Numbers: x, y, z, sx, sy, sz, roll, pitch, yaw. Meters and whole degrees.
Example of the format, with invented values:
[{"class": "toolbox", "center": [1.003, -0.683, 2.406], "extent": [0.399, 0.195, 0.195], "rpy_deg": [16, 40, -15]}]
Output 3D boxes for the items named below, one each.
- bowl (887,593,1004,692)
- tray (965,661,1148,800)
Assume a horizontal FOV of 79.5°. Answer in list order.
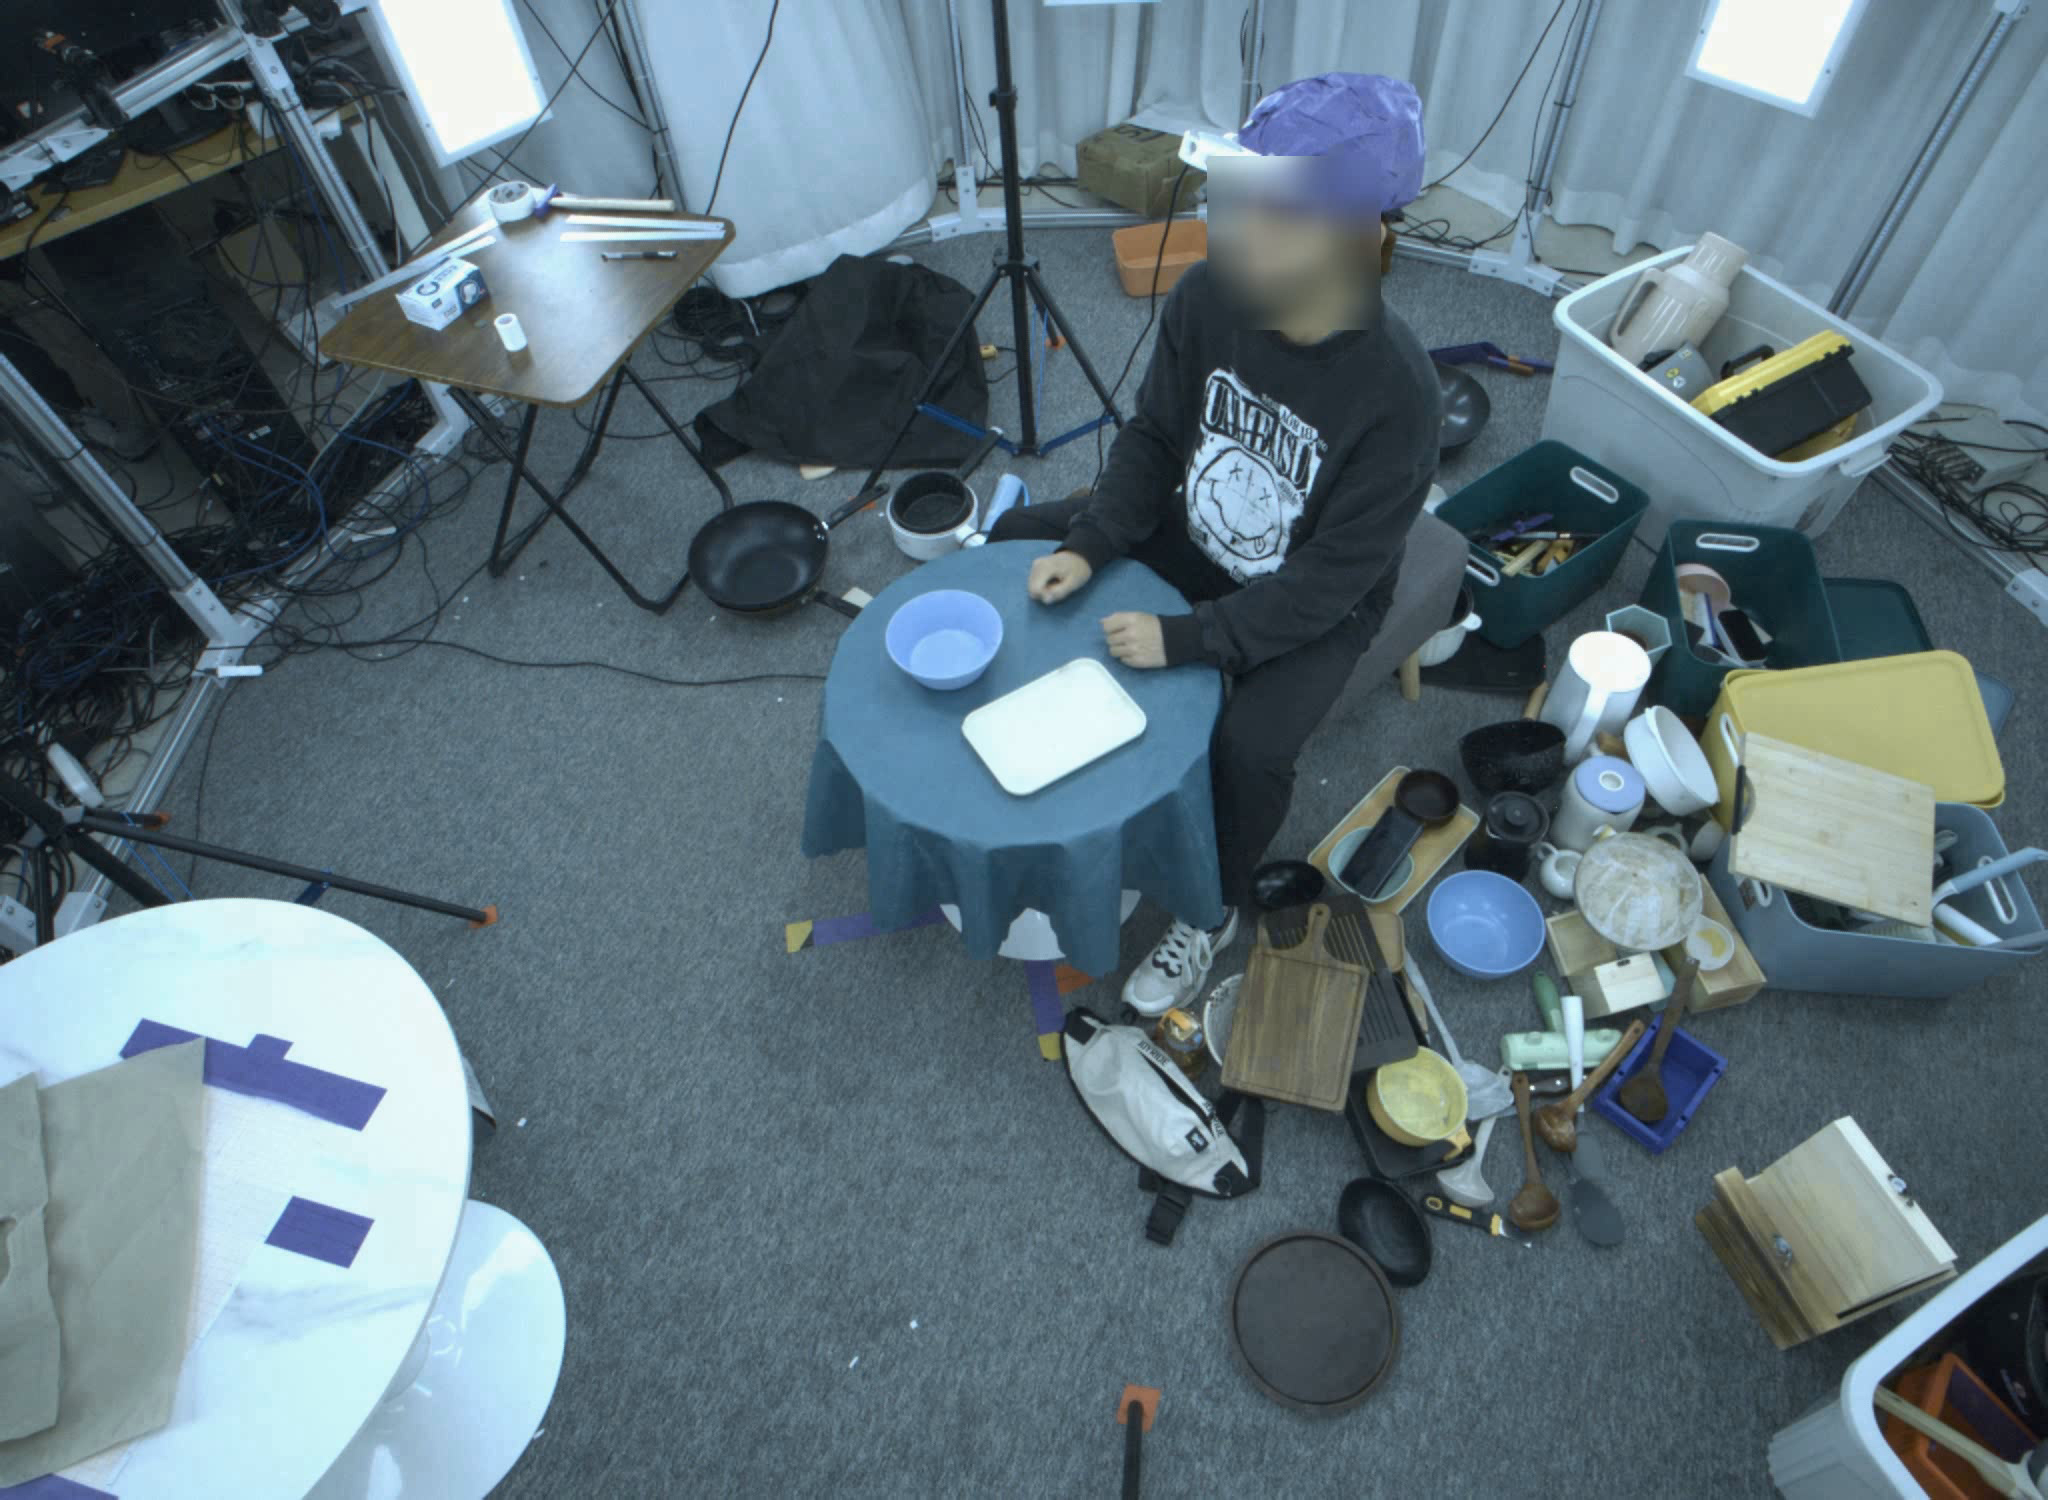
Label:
[{"class": "bowl", "center": [-0.117, -0.153, 1.865], "extent": [0.176, 0.071, 0.174], "rpy_deg": [0, 55, 1]}, {"class": "tray", "center": [0.047, -0.030, 1.807], "extent": [0.241, 0.017, 0.168], "rpy_deg": [-28, 59, -17]}]
